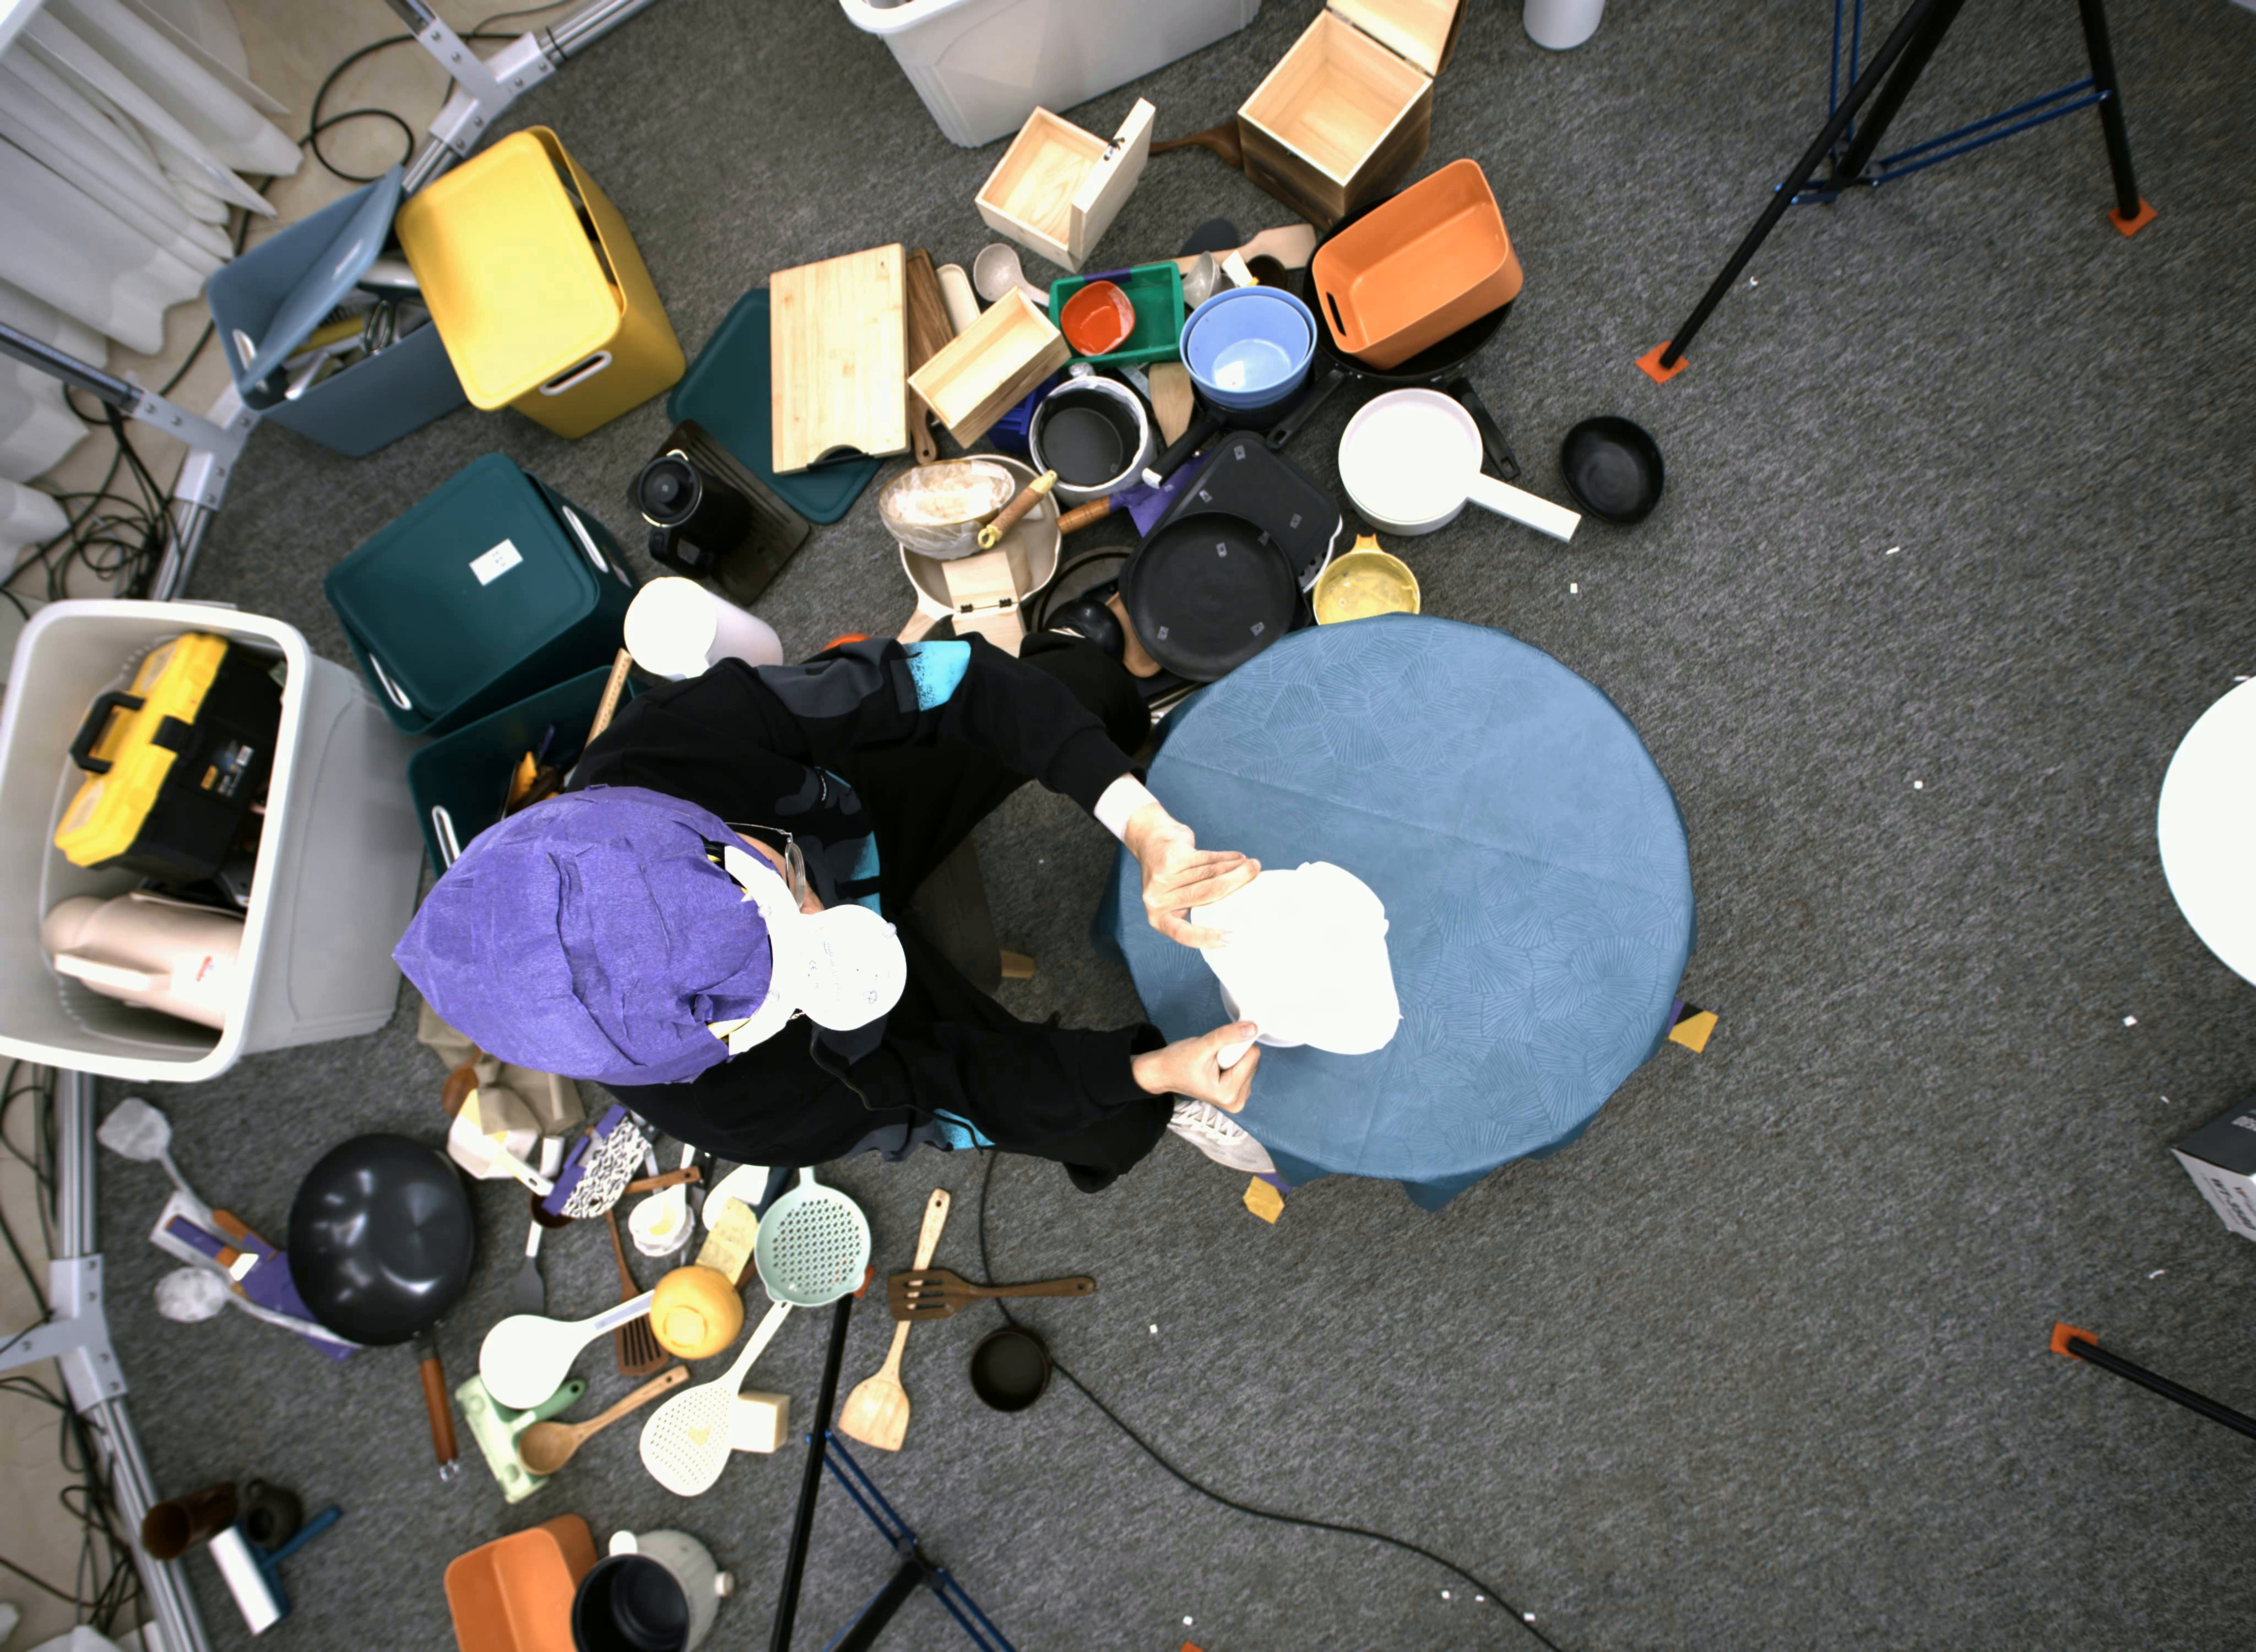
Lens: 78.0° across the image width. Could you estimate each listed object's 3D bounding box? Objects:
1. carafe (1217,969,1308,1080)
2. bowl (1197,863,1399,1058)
[{"bbox_3d":[0.145,0.165,1.352,0.132,0.184,0.190,35,85,10],"label":"carafe"},{"bbox_3d":[0.162,0.087,1.140,0.203,0.200,0.080,43,123,10],"label":"bowl"}]
